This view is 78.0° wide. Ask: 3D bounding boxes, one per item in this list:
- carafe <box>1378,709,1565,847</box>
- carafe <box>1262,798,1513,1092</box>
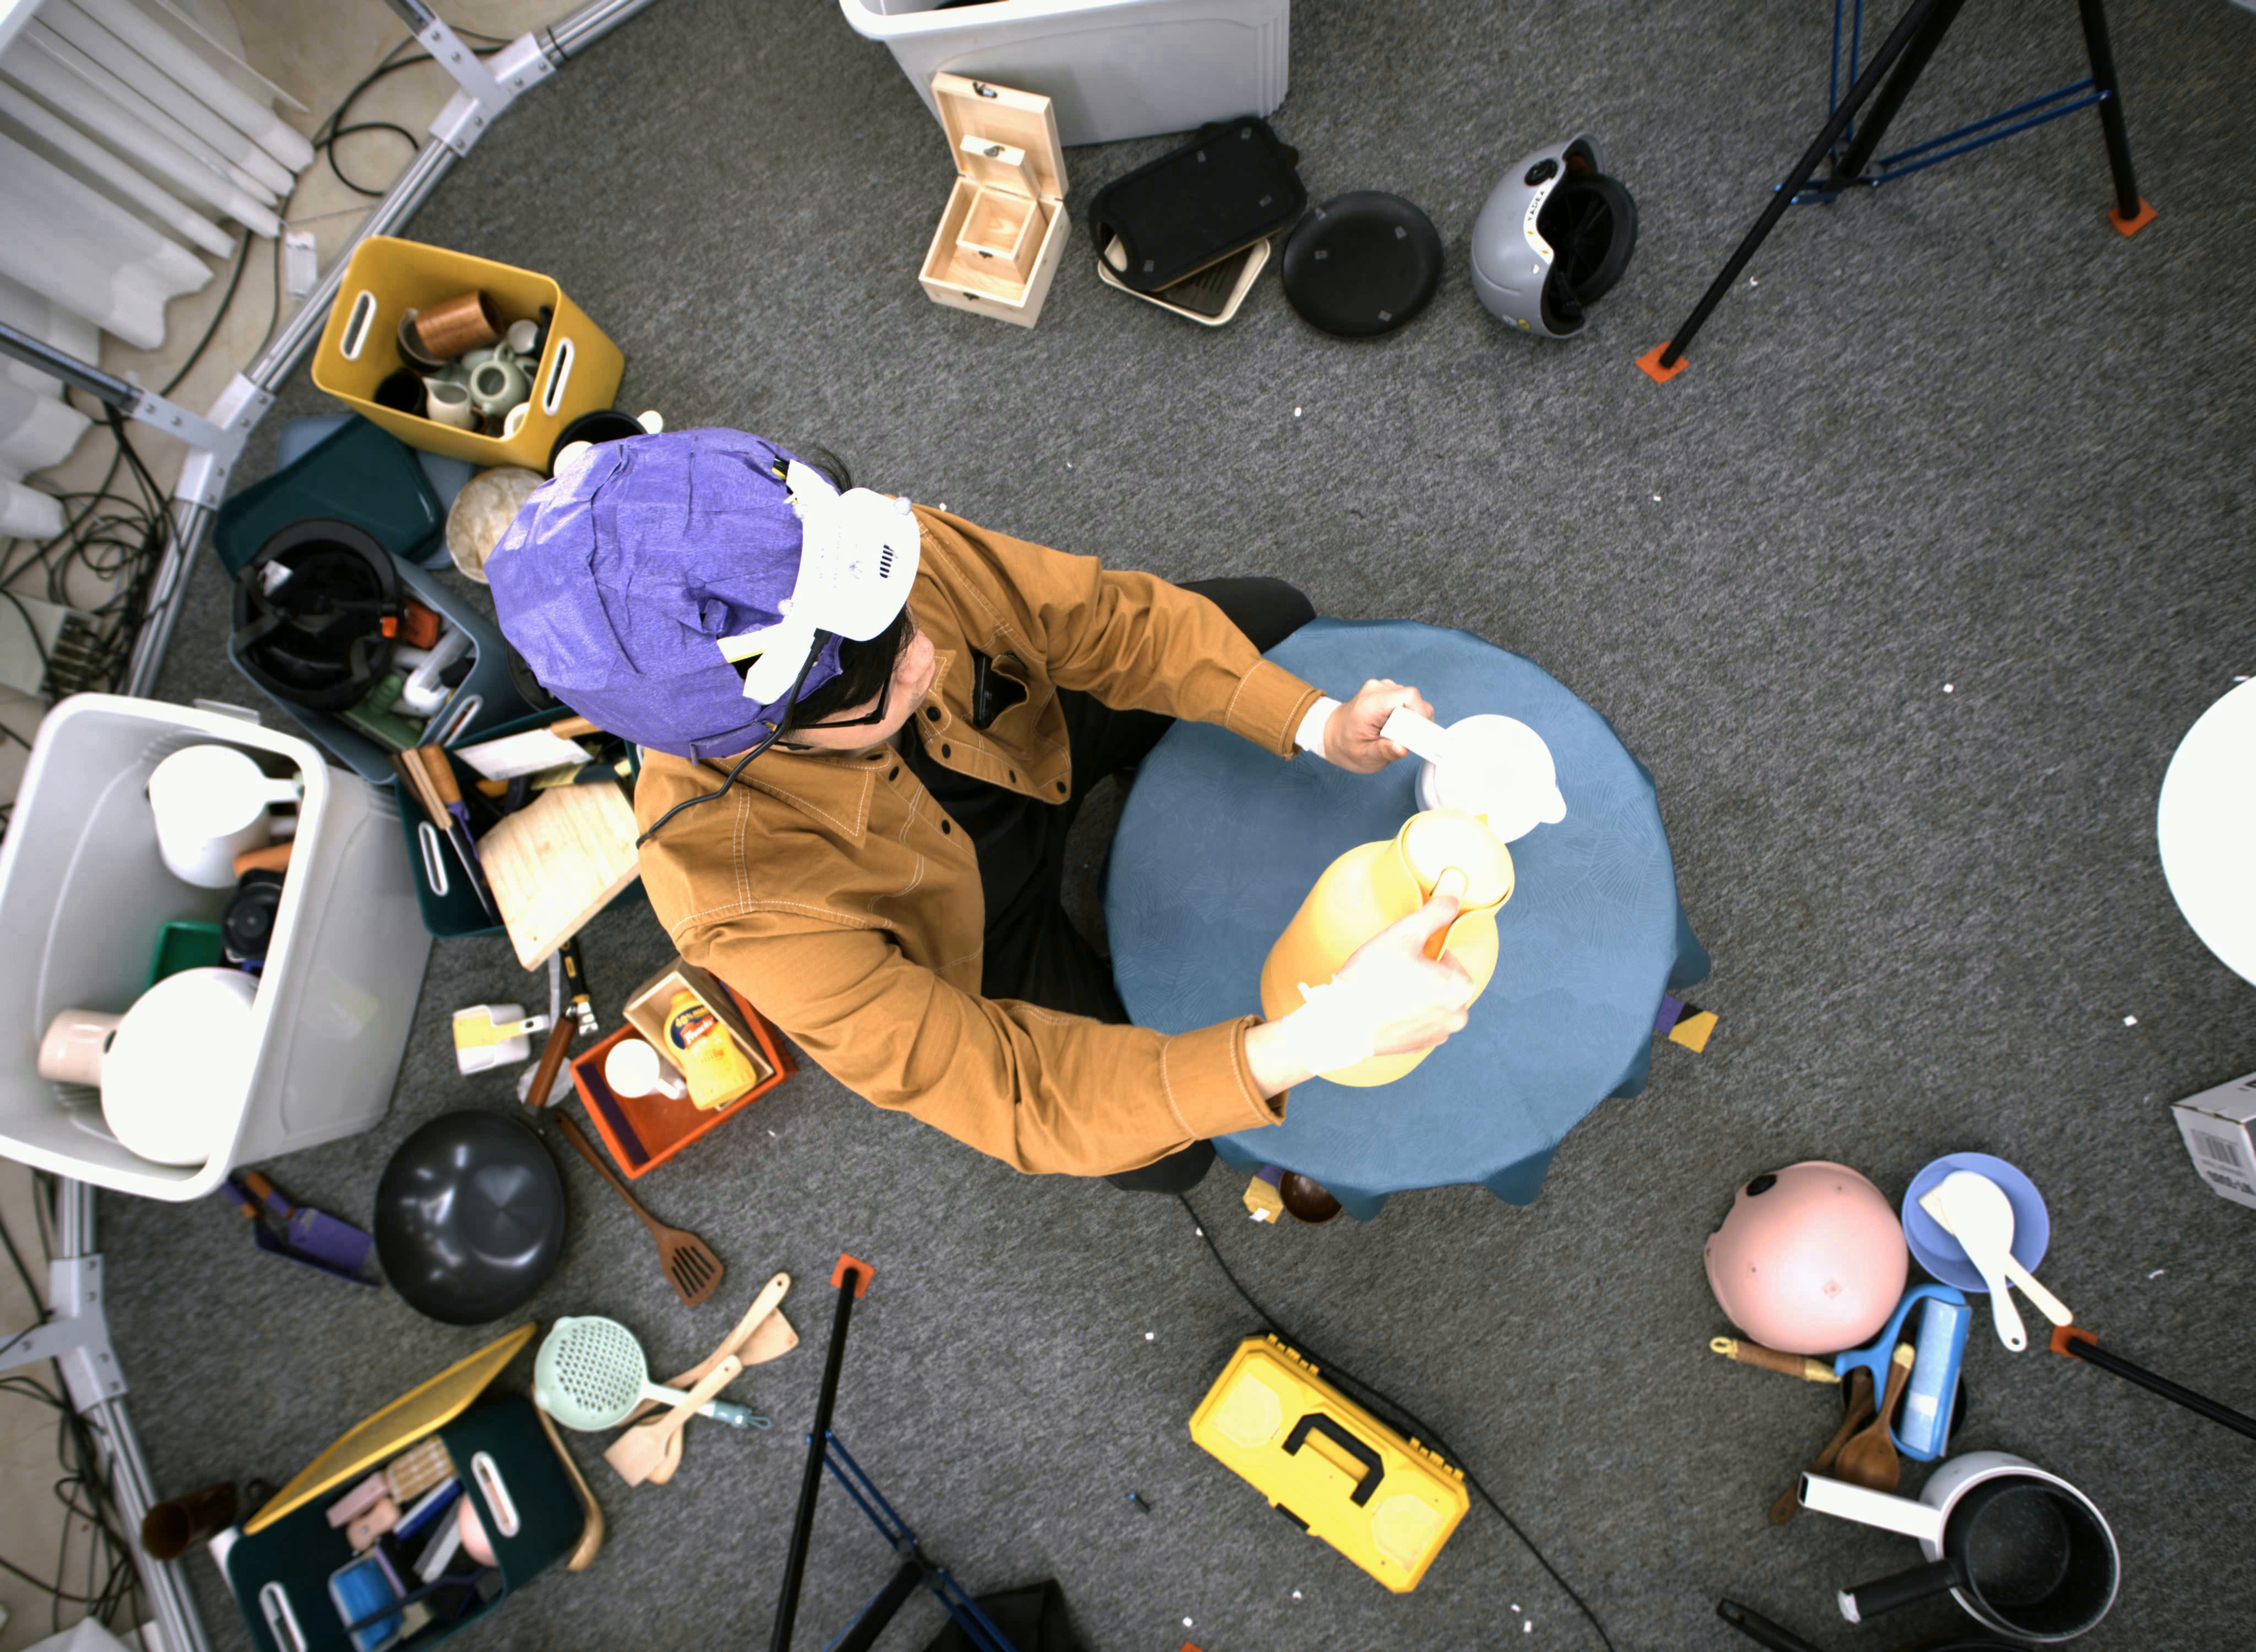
[{"bbox_3d":[0.315,-0.047,1.289,0.172,0.267,0.124,30,97,9],"label":"carafe"},{"bbox_3d":[0.212,0.106,1.129,0.163,0.267,0.197,28,48,7],"label":"carafe"}]
